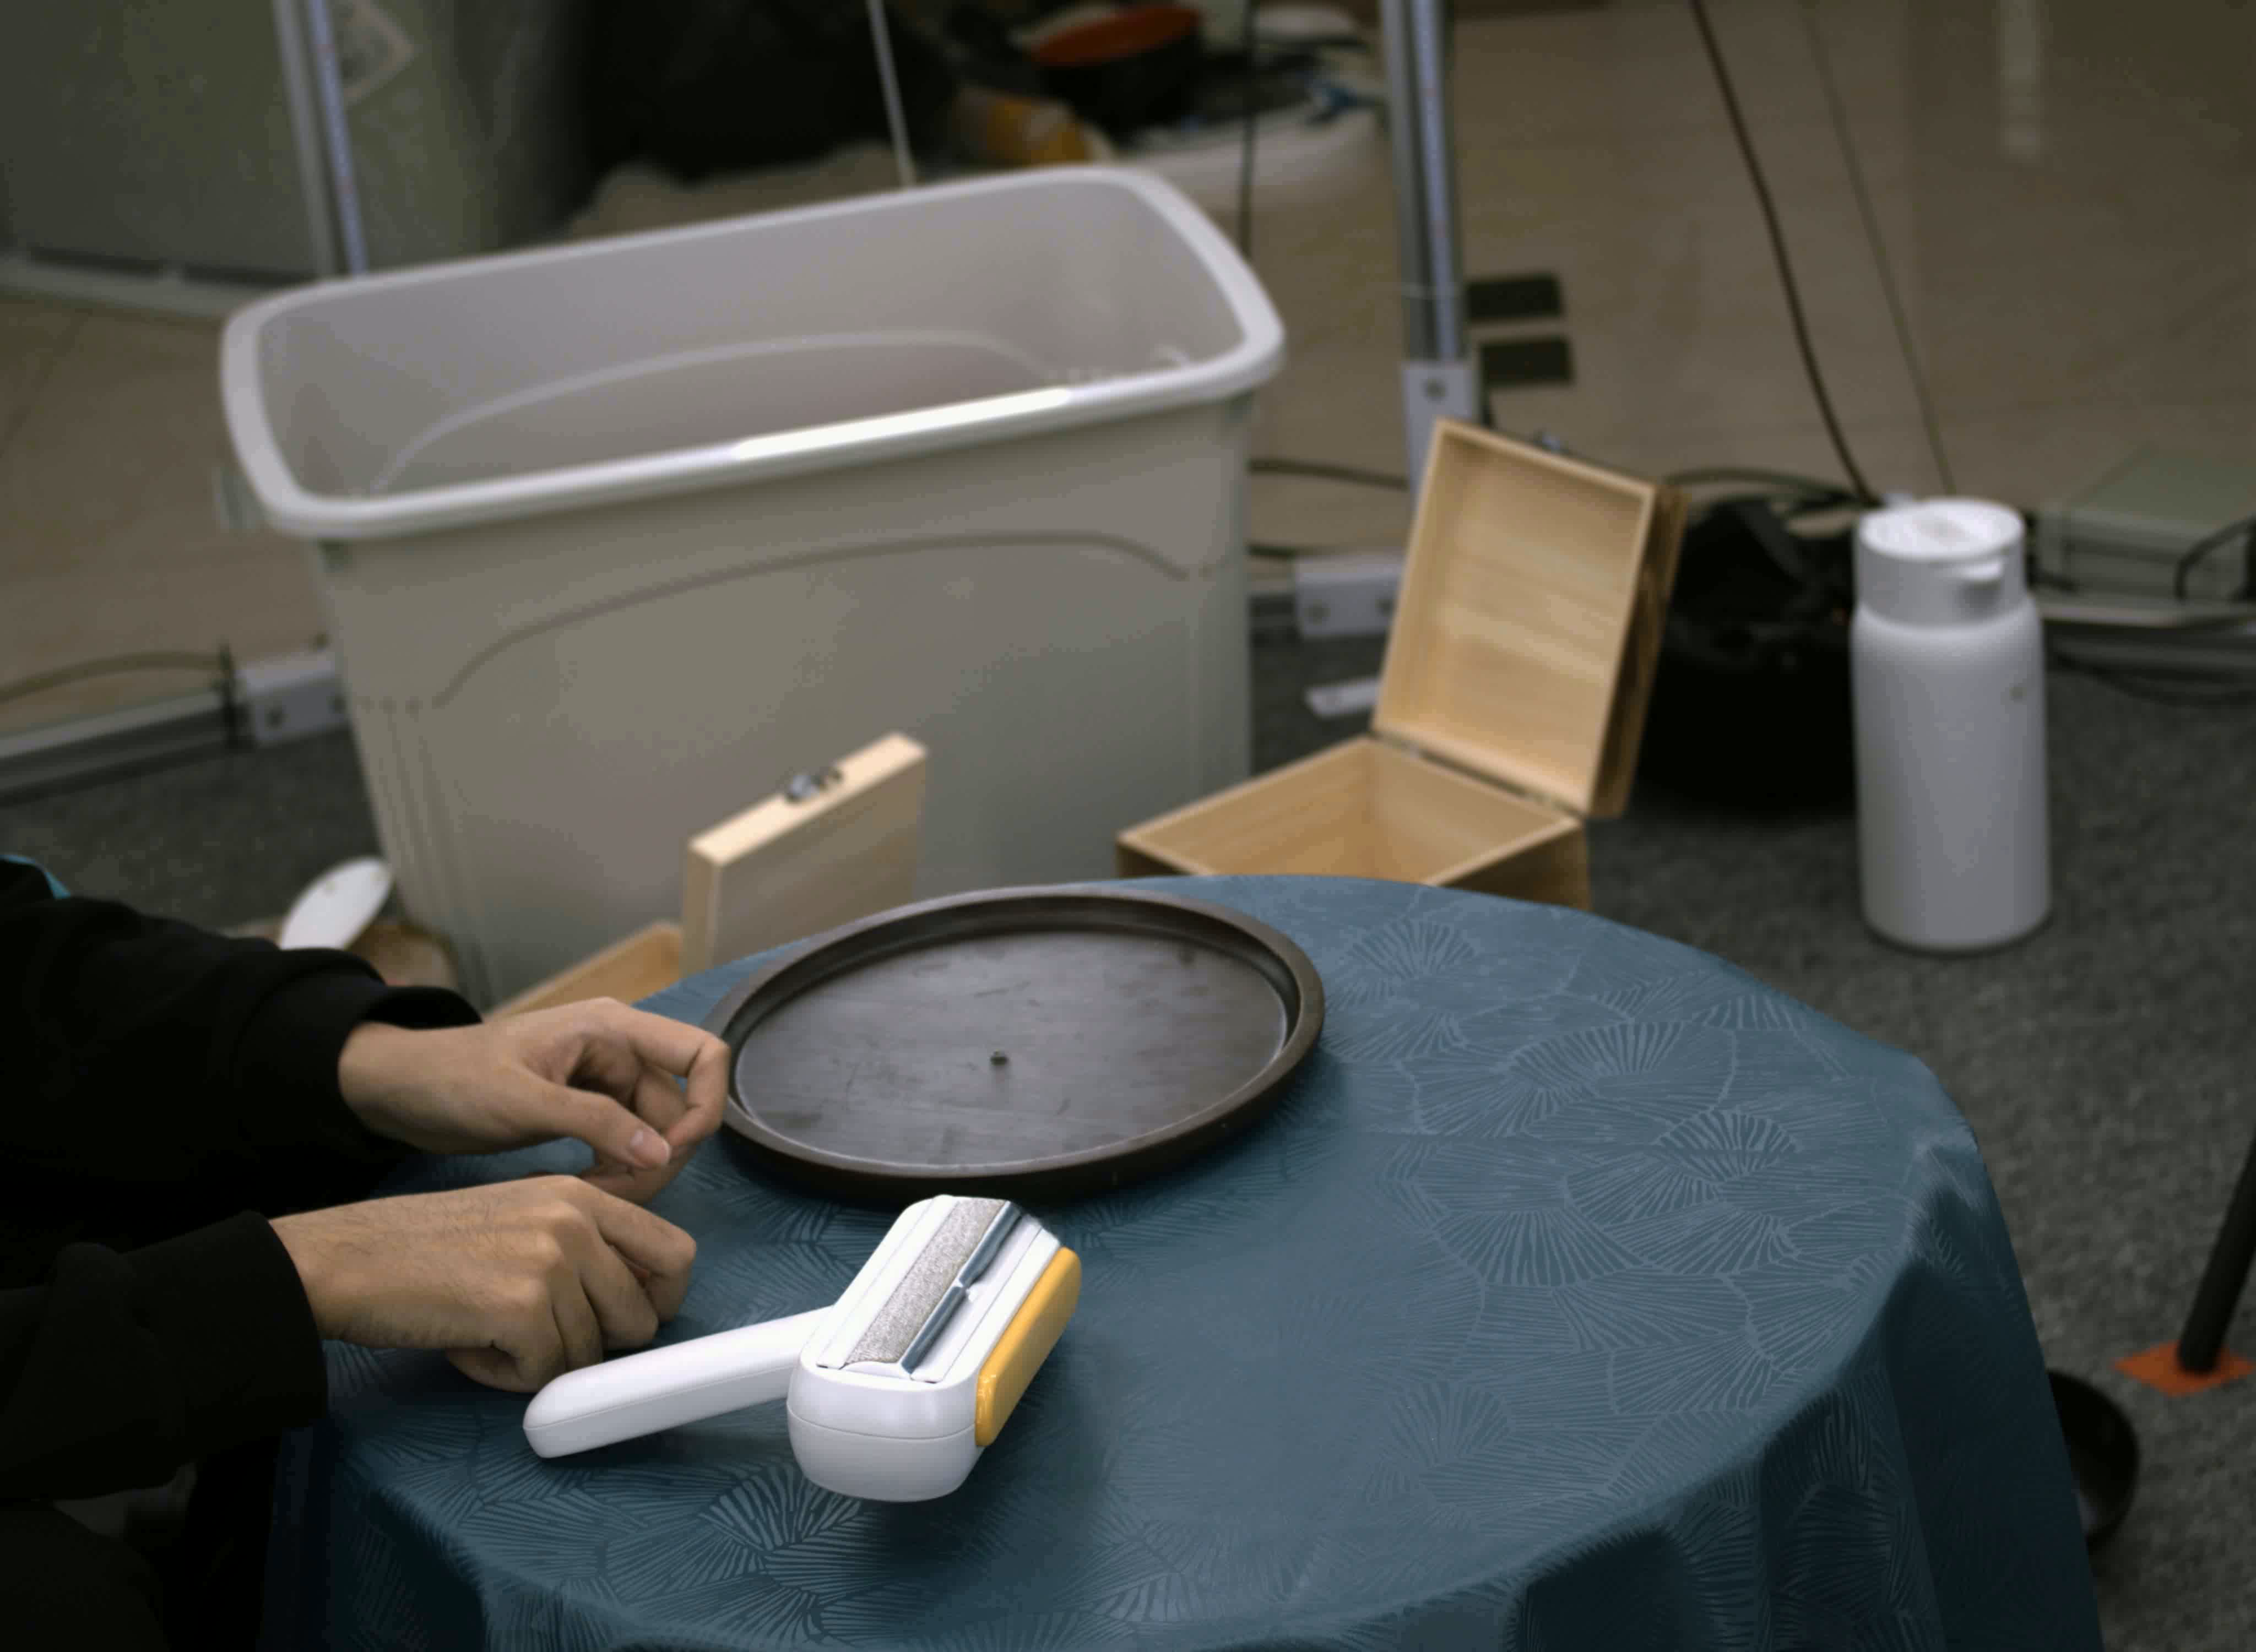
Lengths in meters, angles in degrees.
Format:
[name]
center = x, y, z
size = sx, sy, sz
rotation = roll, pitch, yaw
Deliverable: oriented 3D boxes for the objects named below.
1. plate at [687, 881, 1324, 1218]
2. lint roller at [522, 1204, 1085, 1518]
[plate]
center = -0.047, 0.088, 2.239
size = 0.254, 0.029, 0.251
rotation = -6, 26, 3
[lint roller]
center = -0.124, 0.189, 1.986
size = 0.192, 0.075, 0.190
rotation = -1, 20, 17
